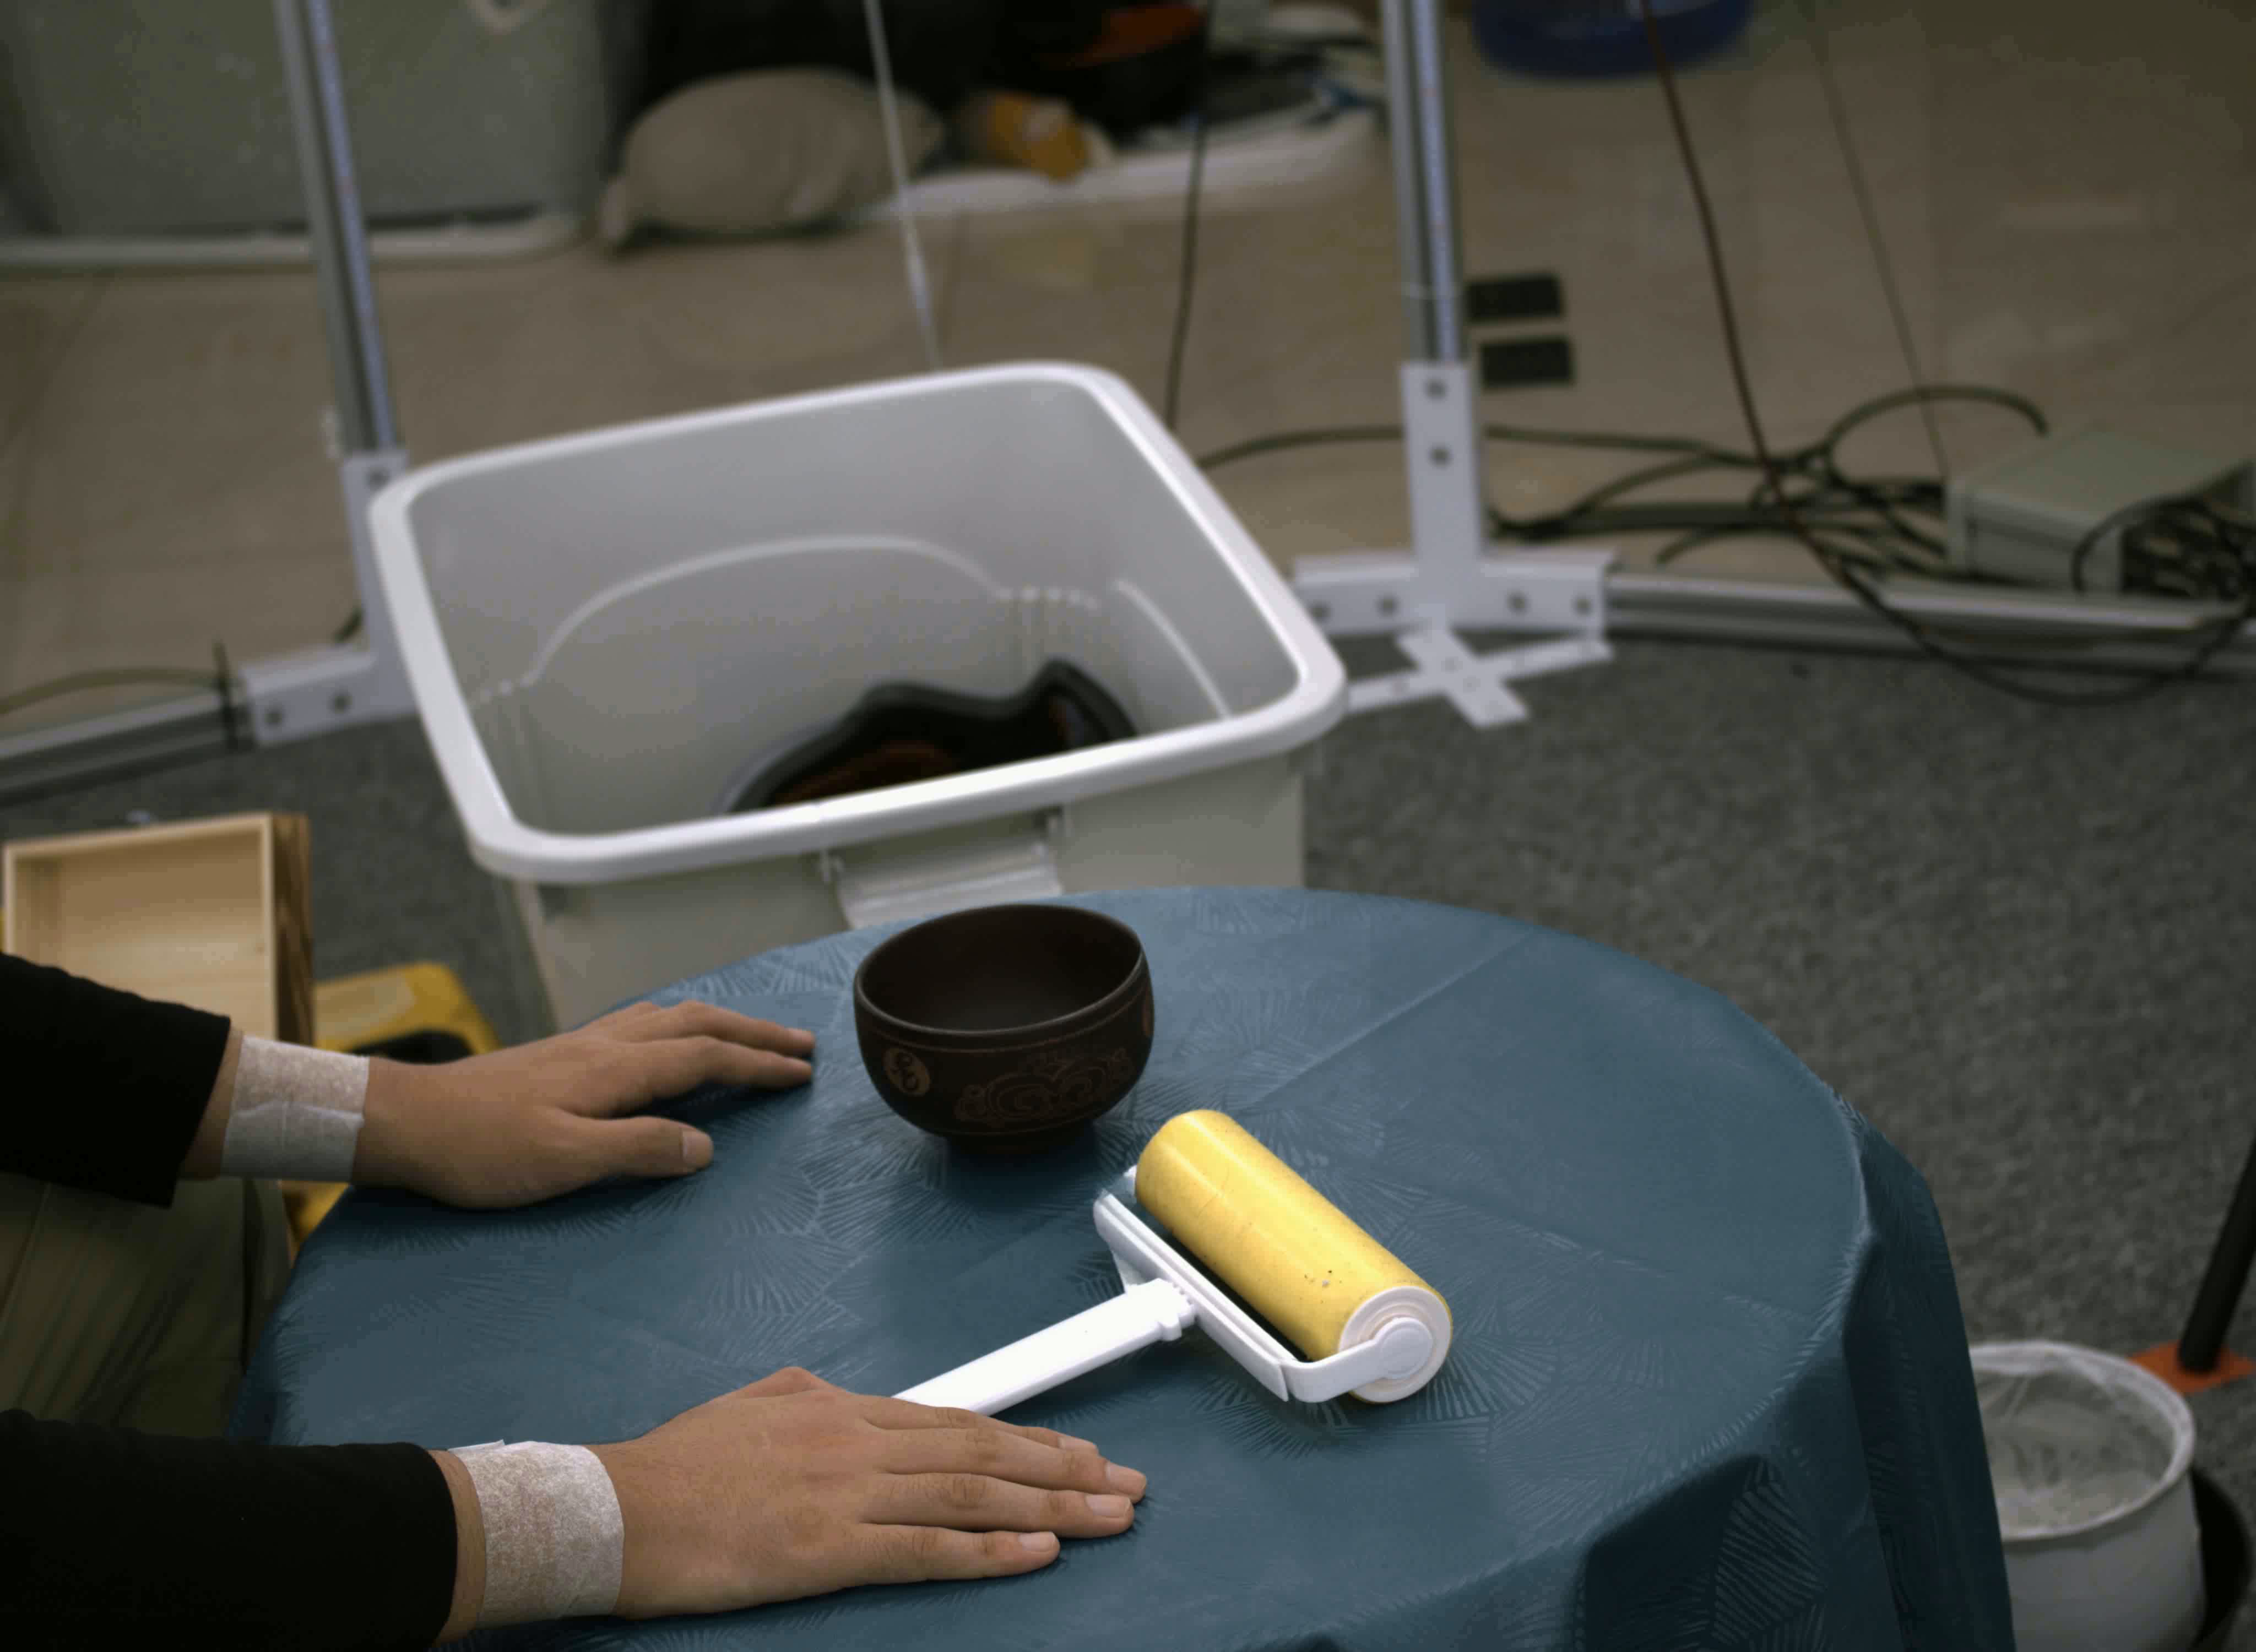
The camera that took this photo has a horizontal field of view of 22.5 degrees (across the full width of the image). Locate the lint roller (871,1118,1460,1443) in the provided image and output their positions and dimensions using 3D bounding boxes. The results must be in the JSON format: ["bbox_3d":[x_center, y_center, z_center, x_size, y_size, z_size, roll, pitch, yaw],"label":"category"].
[{"bbox_3d":[-0.004,0.172,2.017,0.191,0.052,0.172,-13,25,-24],"label":"lint roller"}]

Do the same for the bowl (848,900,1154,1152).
[{"bbox_3d":[-0.047,0.083,2.190,0.118,0.071,0.116,-5,24,2],"label":"bowl"}]
